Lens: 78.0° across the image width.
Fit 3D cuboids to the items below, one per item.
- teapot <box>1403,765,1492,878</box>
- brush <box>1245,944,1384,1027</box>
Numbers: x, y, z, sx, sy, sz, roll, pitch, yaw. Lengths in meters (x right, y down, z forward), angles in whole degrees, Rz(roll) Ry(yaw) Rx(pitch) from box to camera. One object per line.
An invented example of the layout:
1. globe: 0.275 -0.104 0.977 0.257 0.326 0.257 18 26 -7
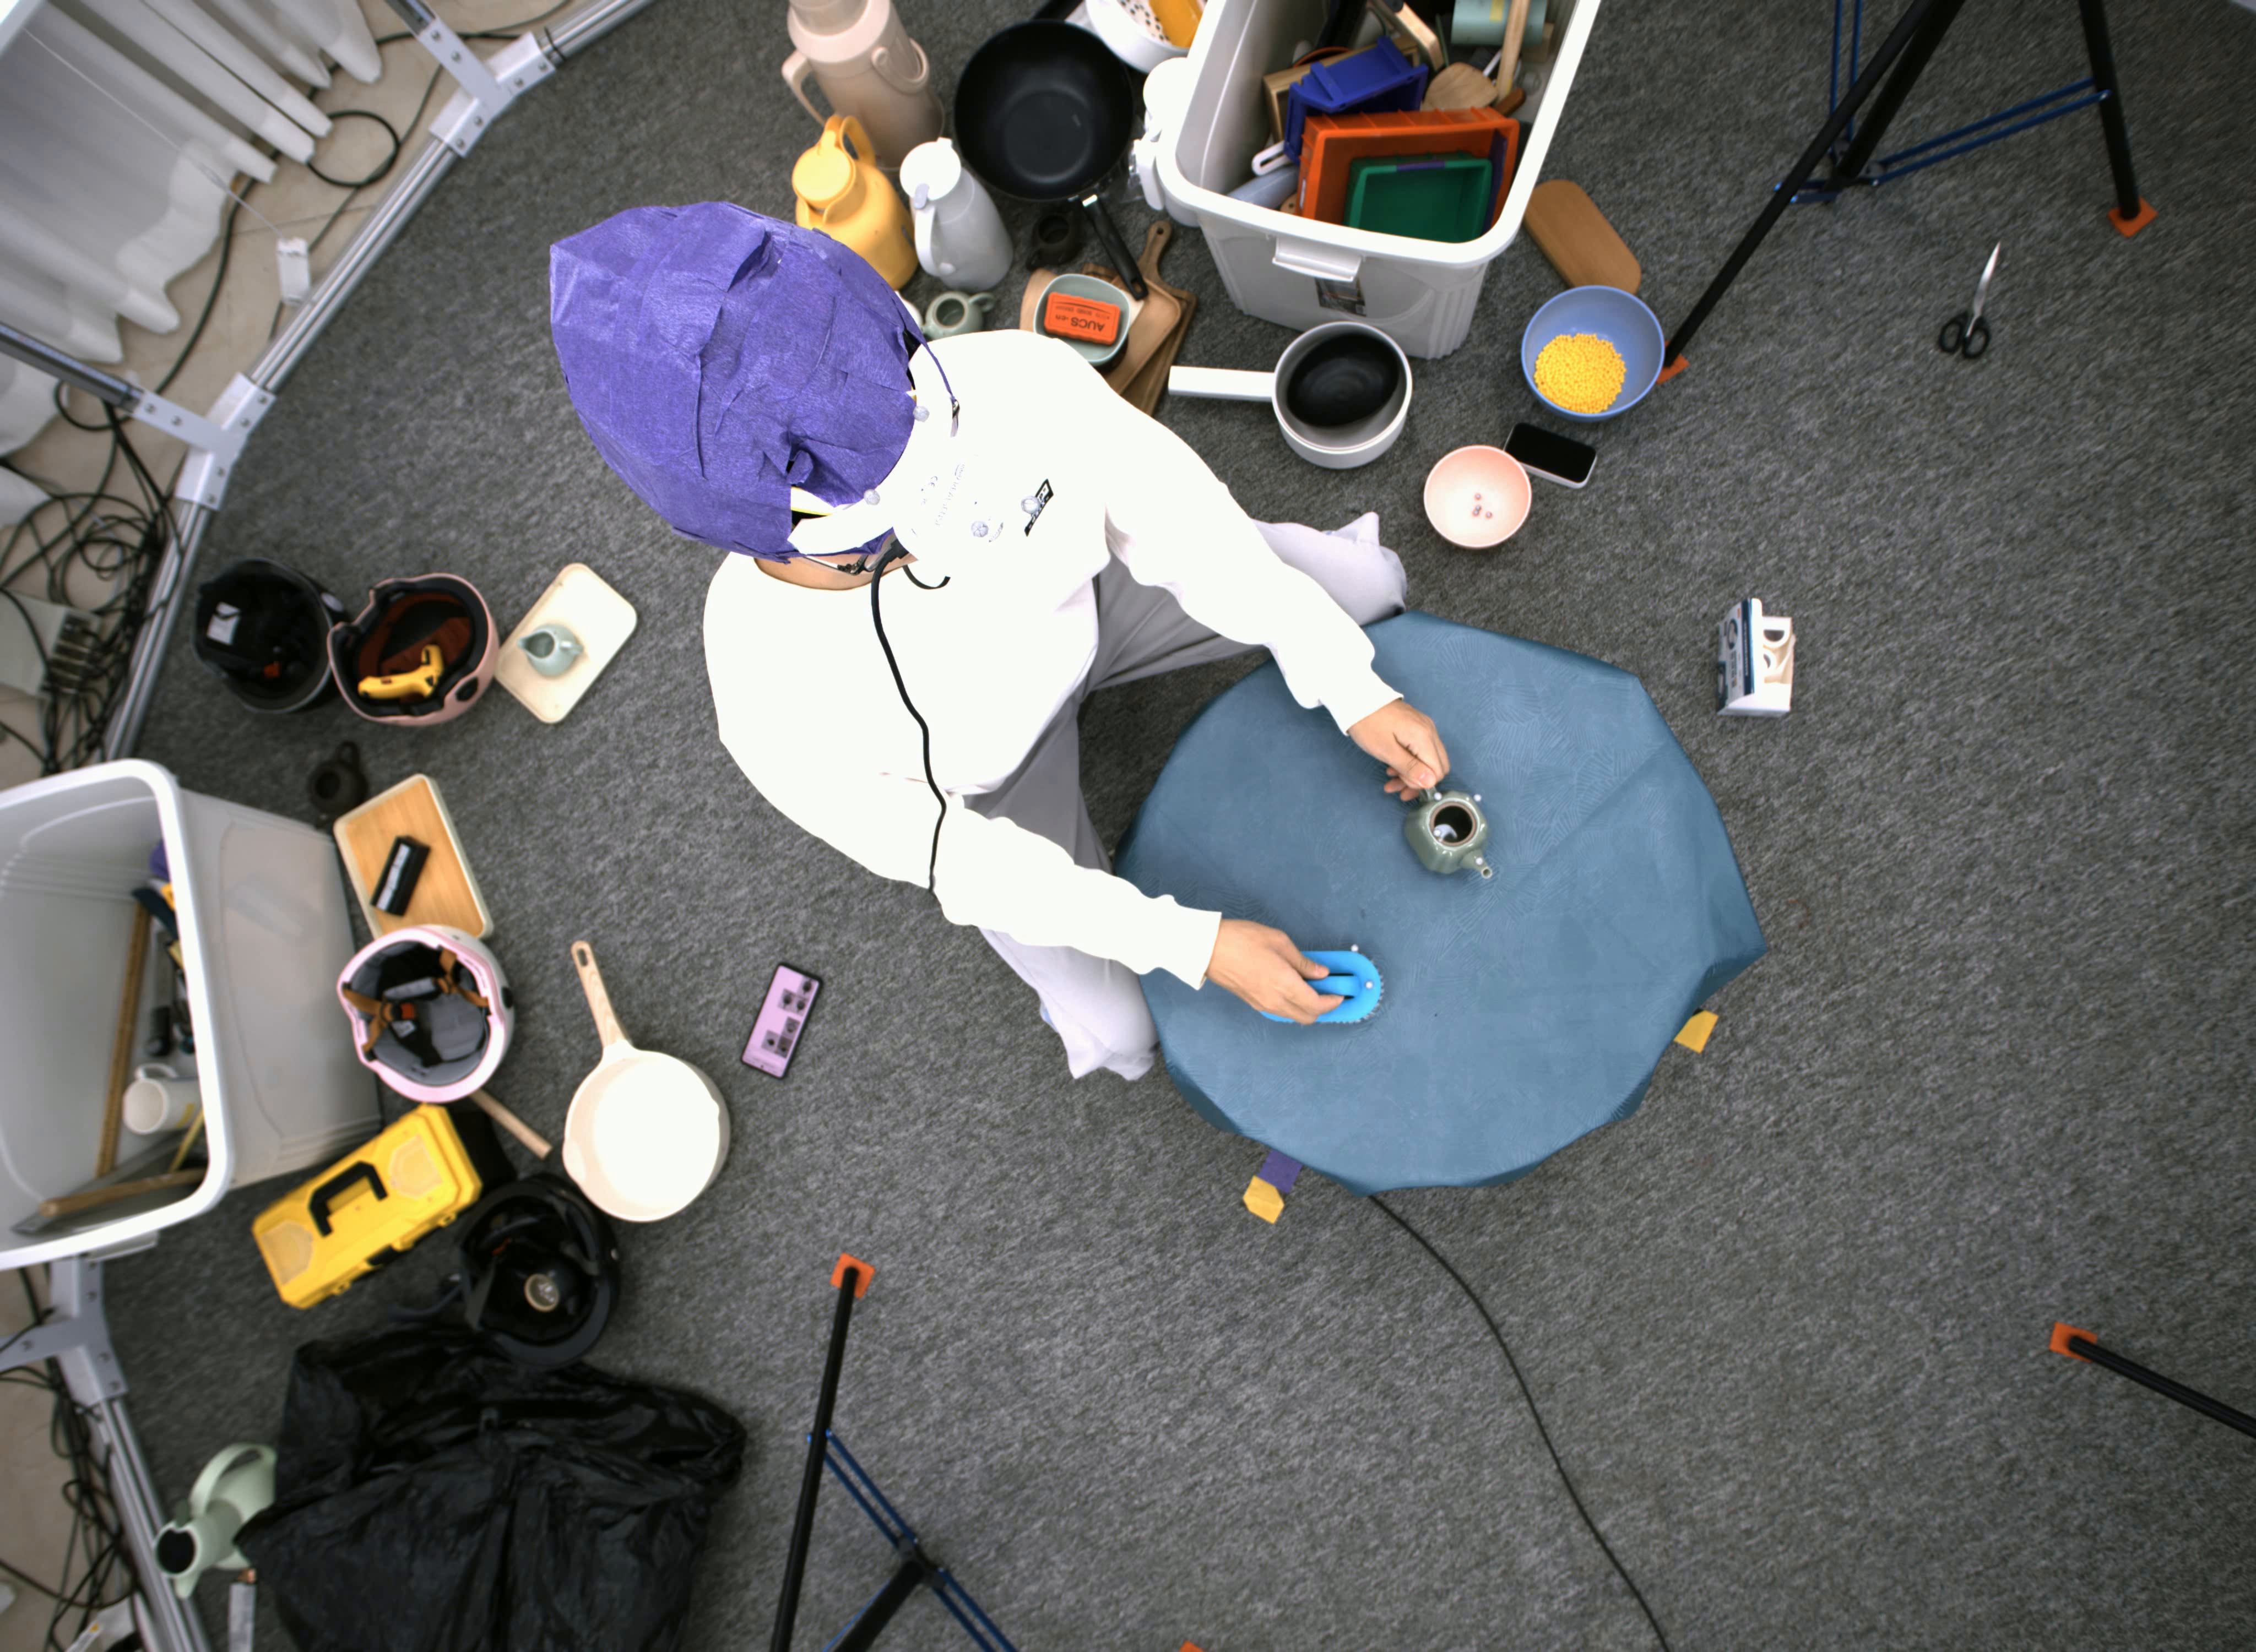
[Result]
1. teapot: 0.330 -0.002 1.412 0.080 0.075 0.131 -31 81 1
2. brush: 0.190 0.163 1.431 0.142 0.063 0.084 0 88 15
